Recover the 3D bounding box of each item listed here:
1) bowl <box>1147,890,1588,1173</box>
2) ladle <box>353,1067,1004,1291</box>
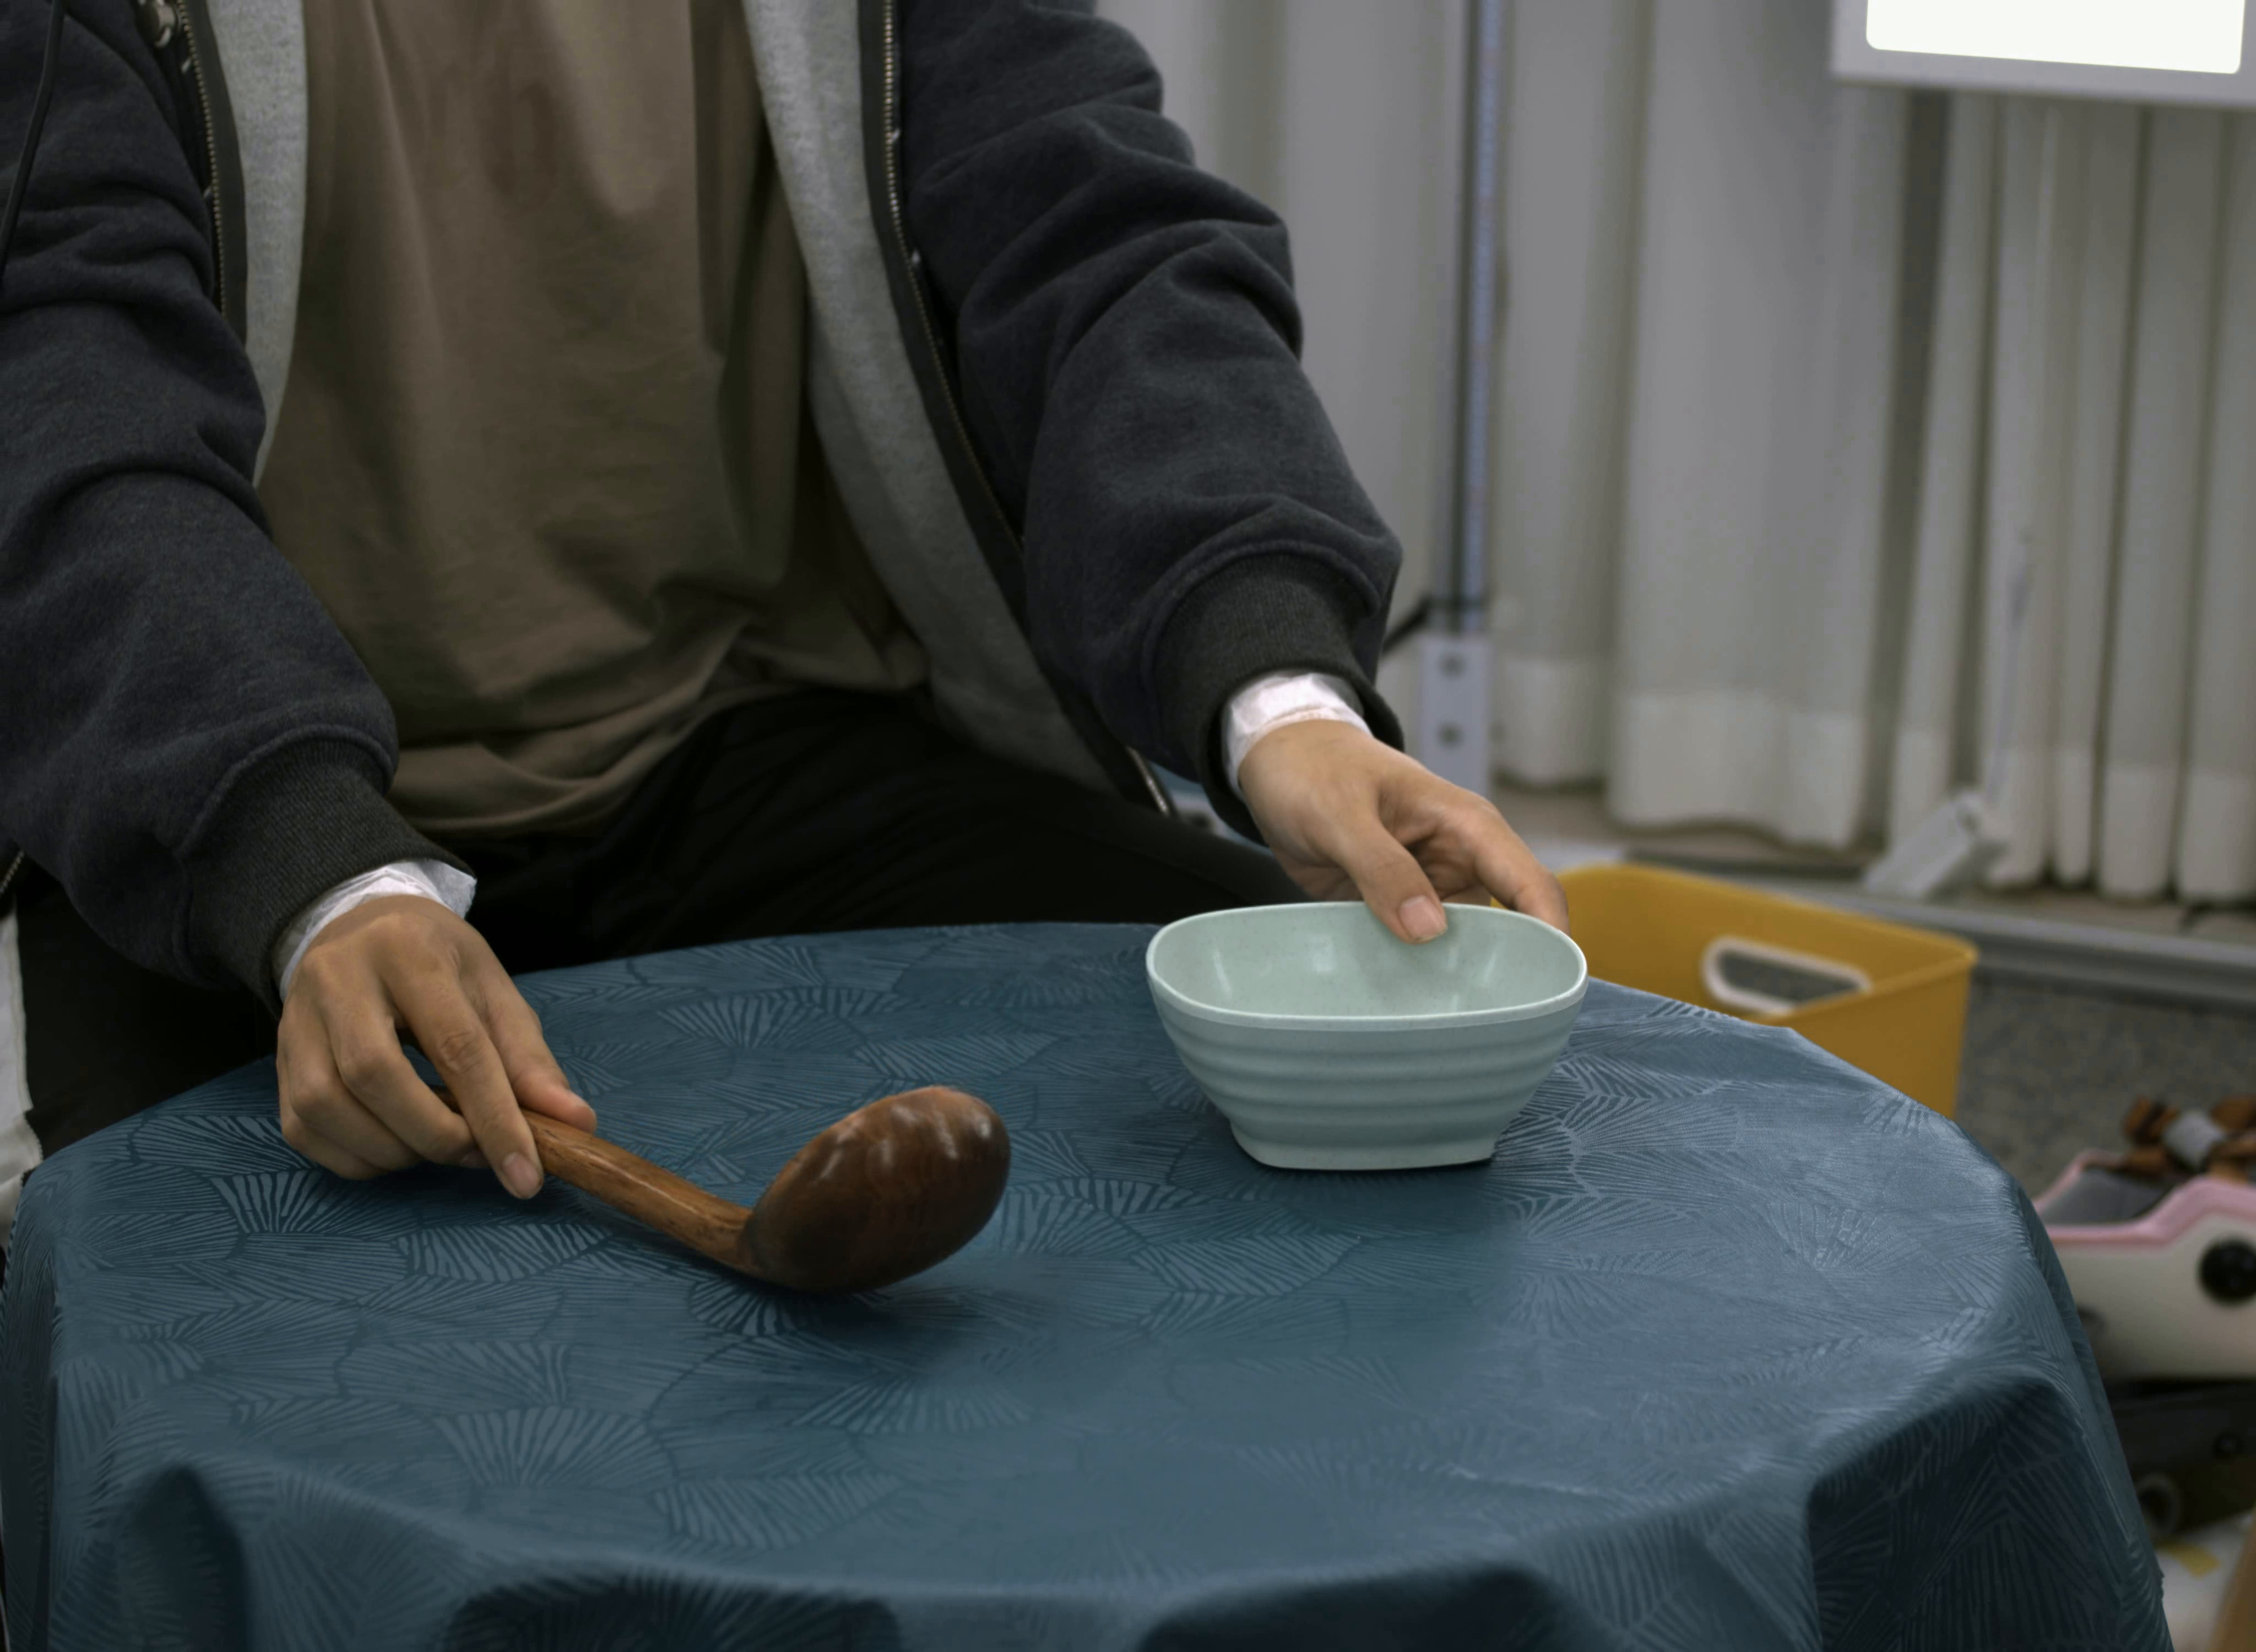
[{"bbox_3d":[0.075,0.068,1.671,0.151,0.059,0.150,0,17,1],"label":"bowl"},{"bbox_3d":[-0.145,0.080,1.577,0.082,0.077,0.270,5,10,-45],"label":"ladle"}]
